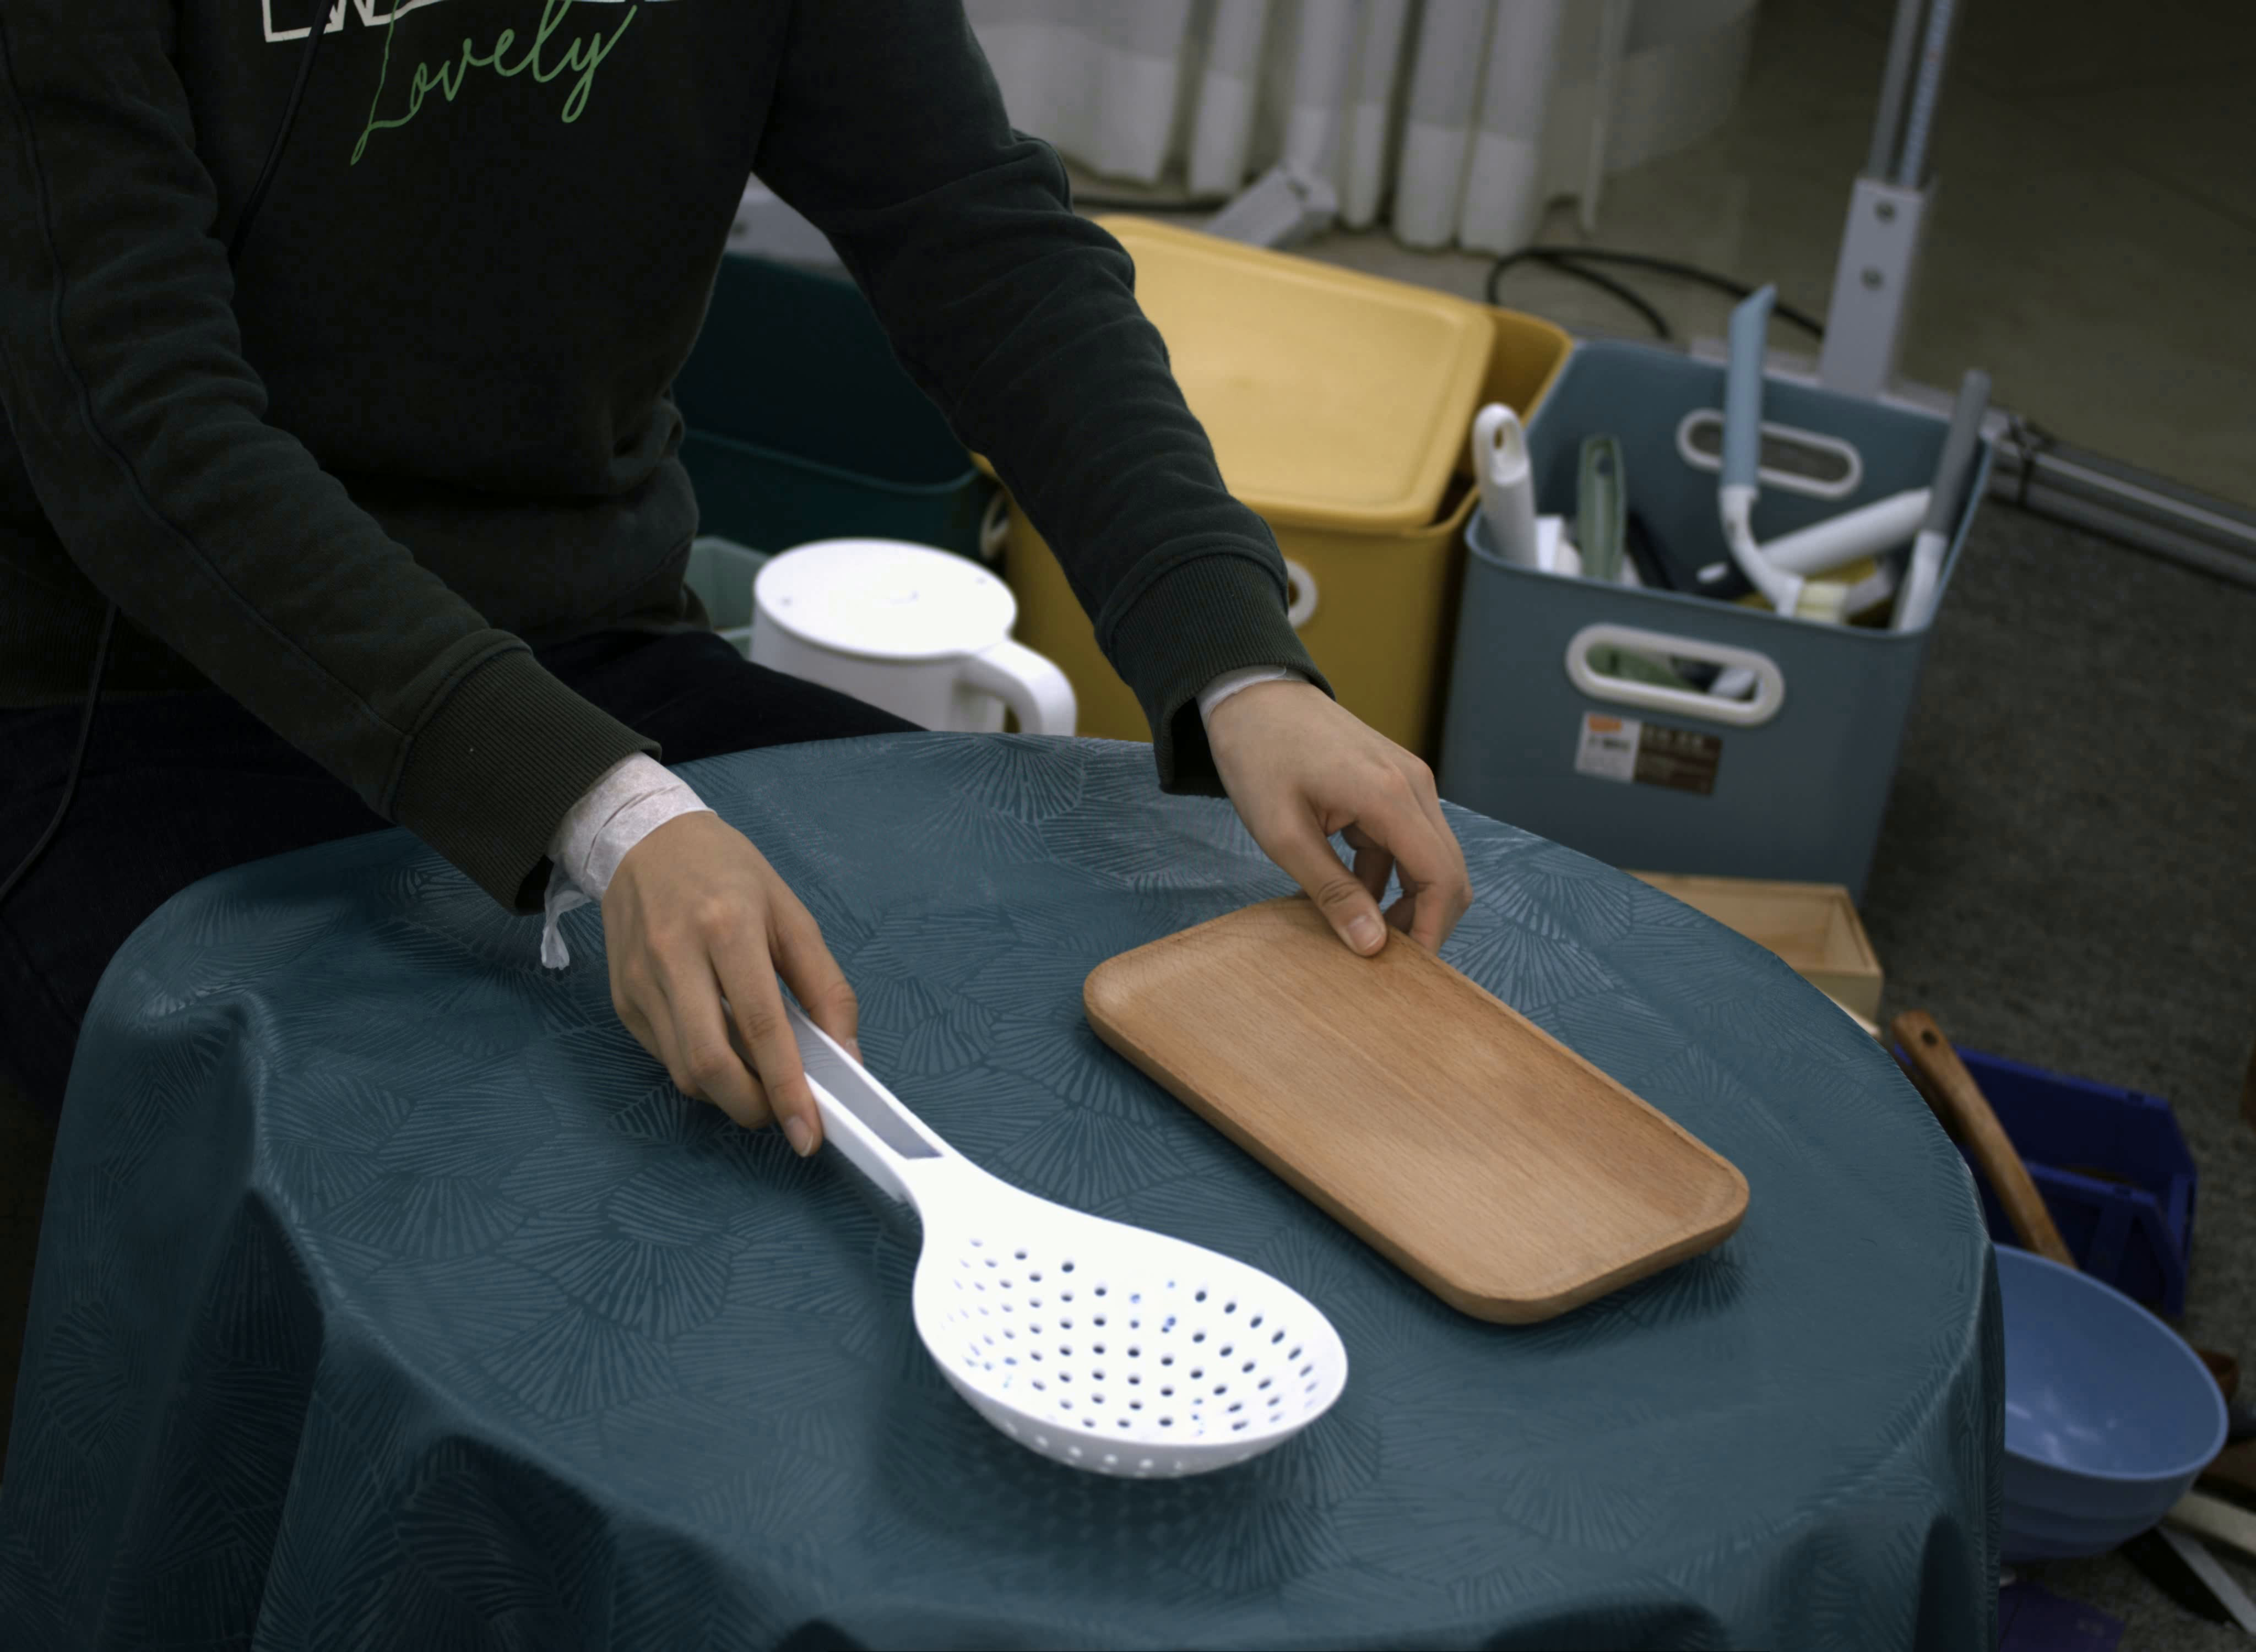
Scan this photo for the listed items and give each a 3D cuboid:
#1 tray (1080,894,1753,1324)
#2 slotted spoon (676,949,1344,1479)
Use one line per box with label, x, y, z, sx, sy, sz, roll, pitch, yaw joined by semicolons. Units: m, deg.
tray;0.097;0.095;1.848;0.130;0.023;0.253;-17;34;-32
slotted spoon;-0.058;0.120;1.730;0.135;0.045;0.353;-5;31;-33
